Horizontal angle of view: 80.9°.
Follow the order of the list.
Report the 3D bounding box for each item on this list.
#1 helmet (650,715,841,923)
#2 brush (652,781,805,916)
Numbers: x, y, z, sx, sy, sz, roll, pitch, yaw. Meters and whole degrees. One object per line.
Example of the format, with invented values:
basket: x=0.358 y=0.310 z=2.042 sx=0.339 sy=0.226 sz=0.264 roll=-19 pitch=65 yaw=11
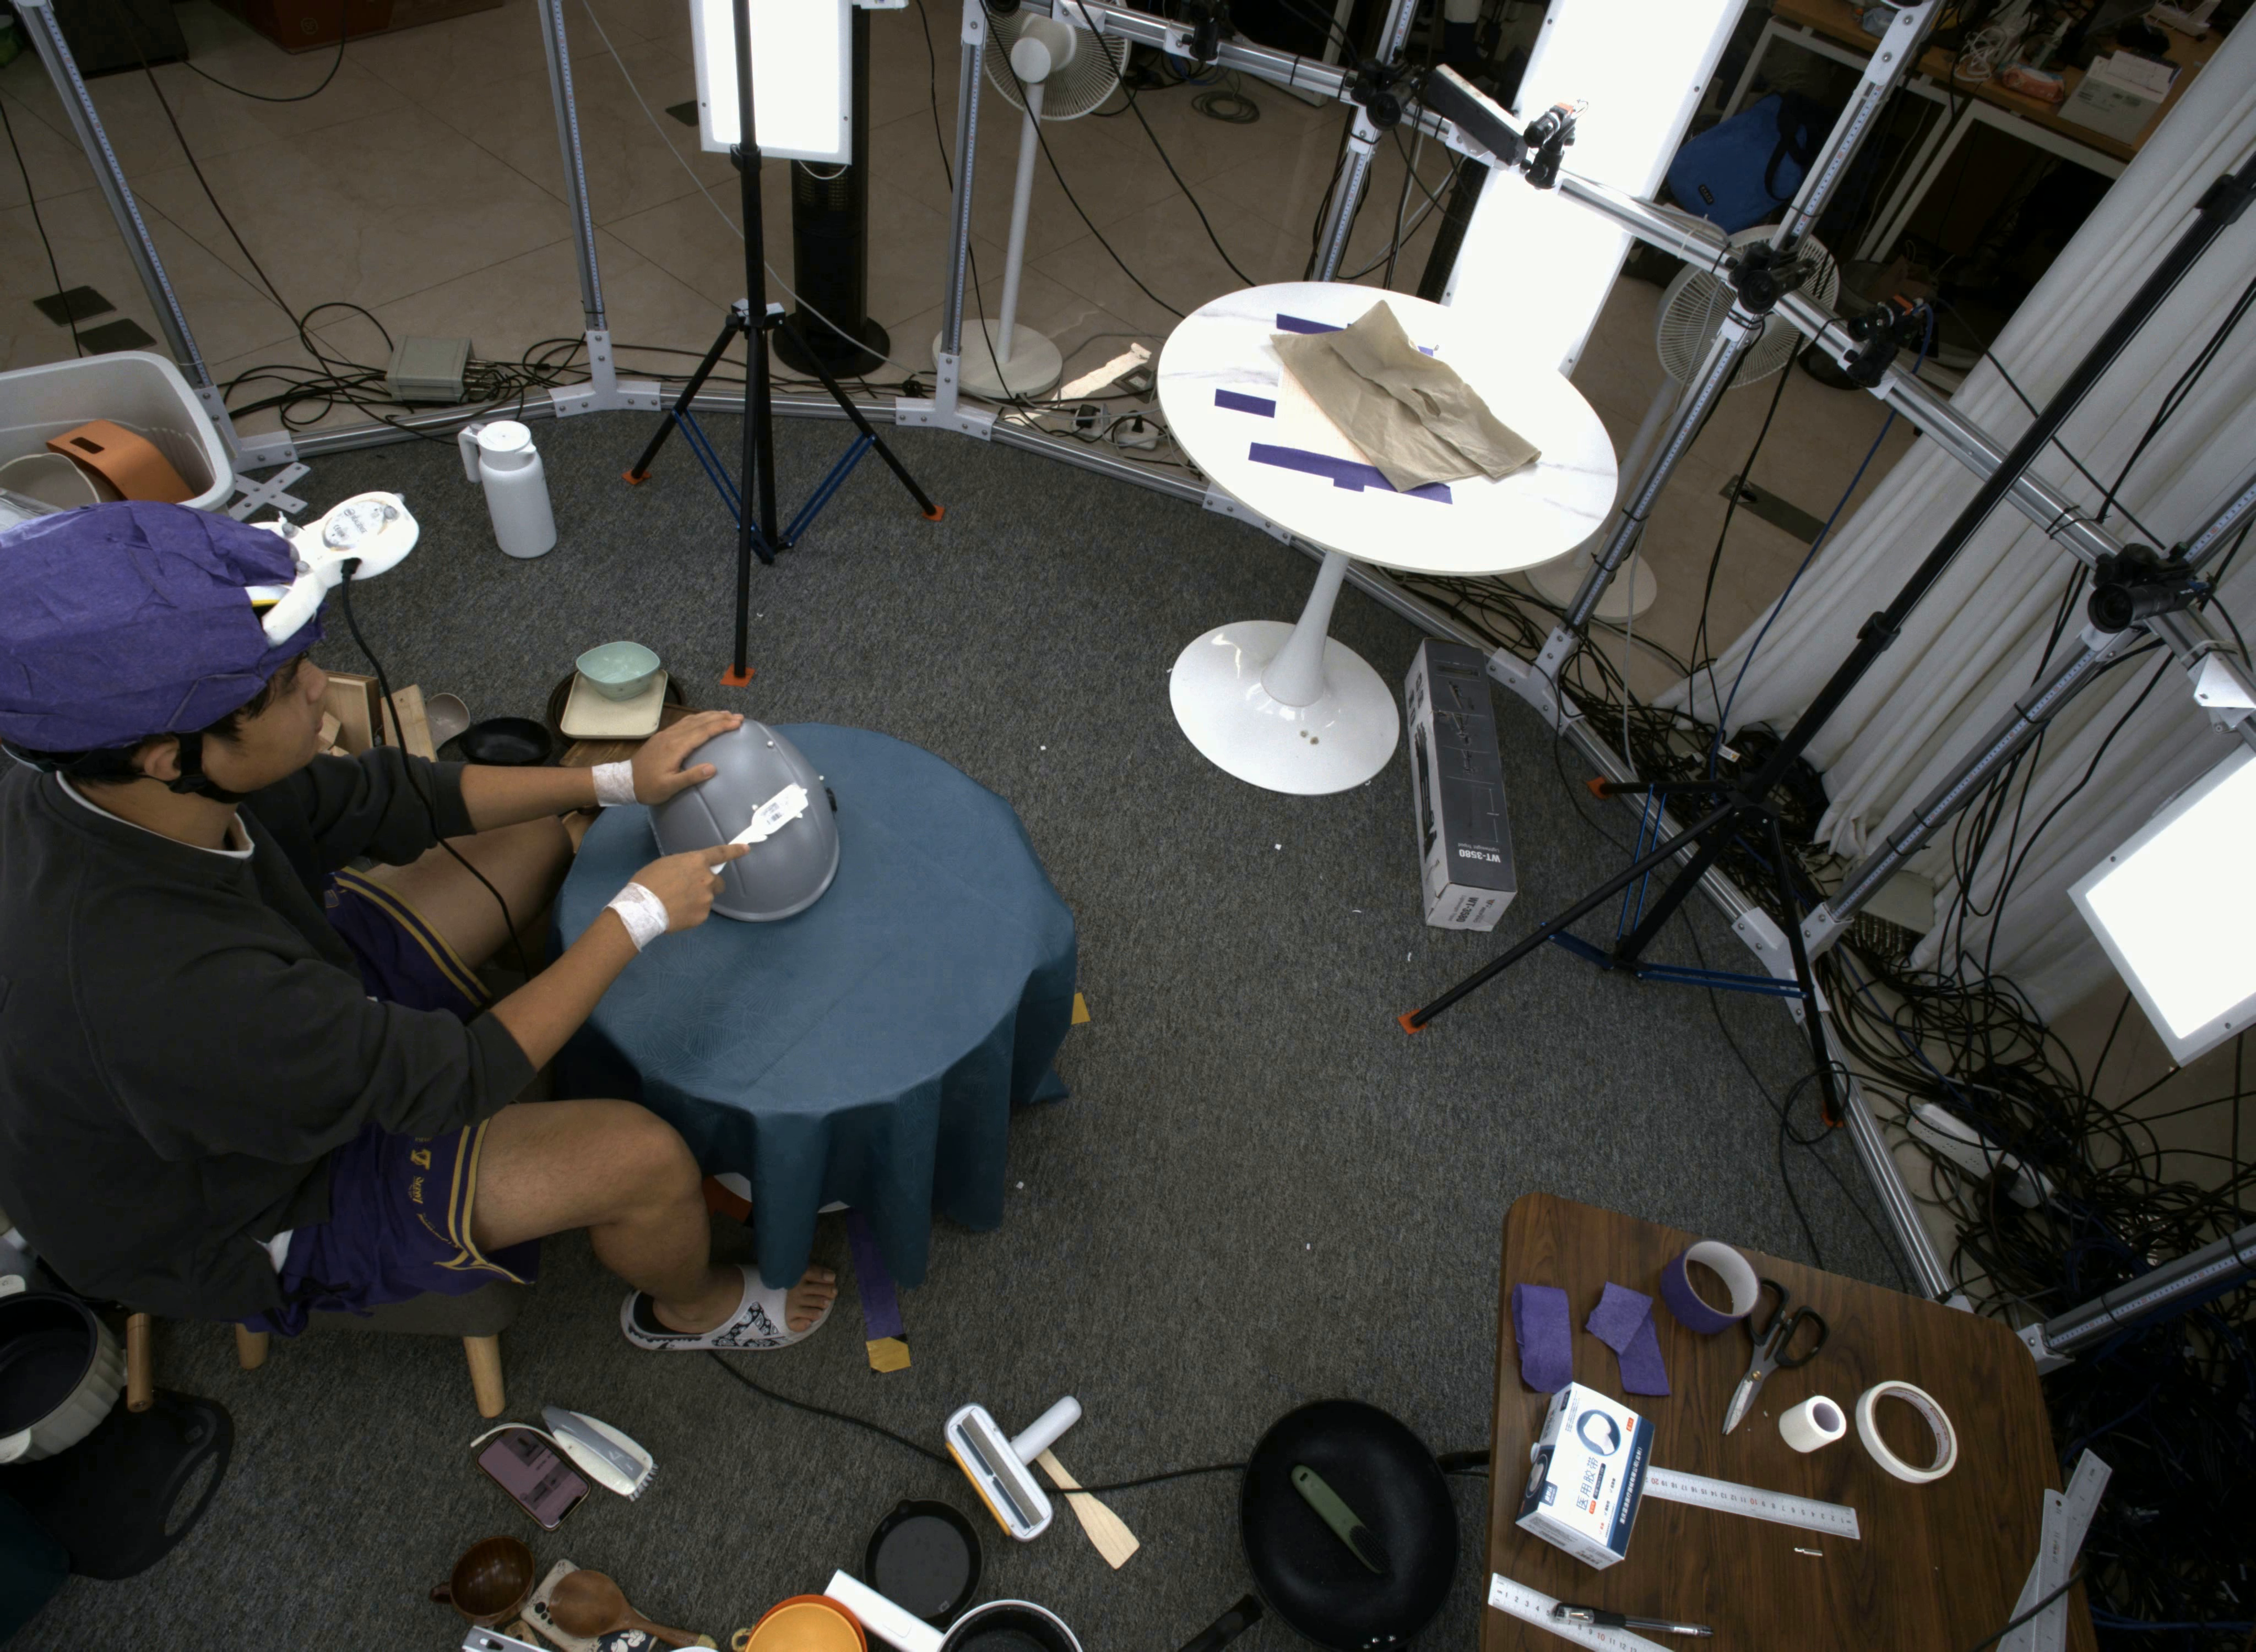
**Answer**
helmet: x=-0.488 y=-0.032 z=1.634 sx=0.233 sy=0.172 sz=0.270 roll=-29 pitch=66 yaw=-28
brush: x=-0.465 y=0.026 z=1.499 sx=0.035 sy=0.049 sz=0.243 roll=51 pitch=52 yaw=-12
